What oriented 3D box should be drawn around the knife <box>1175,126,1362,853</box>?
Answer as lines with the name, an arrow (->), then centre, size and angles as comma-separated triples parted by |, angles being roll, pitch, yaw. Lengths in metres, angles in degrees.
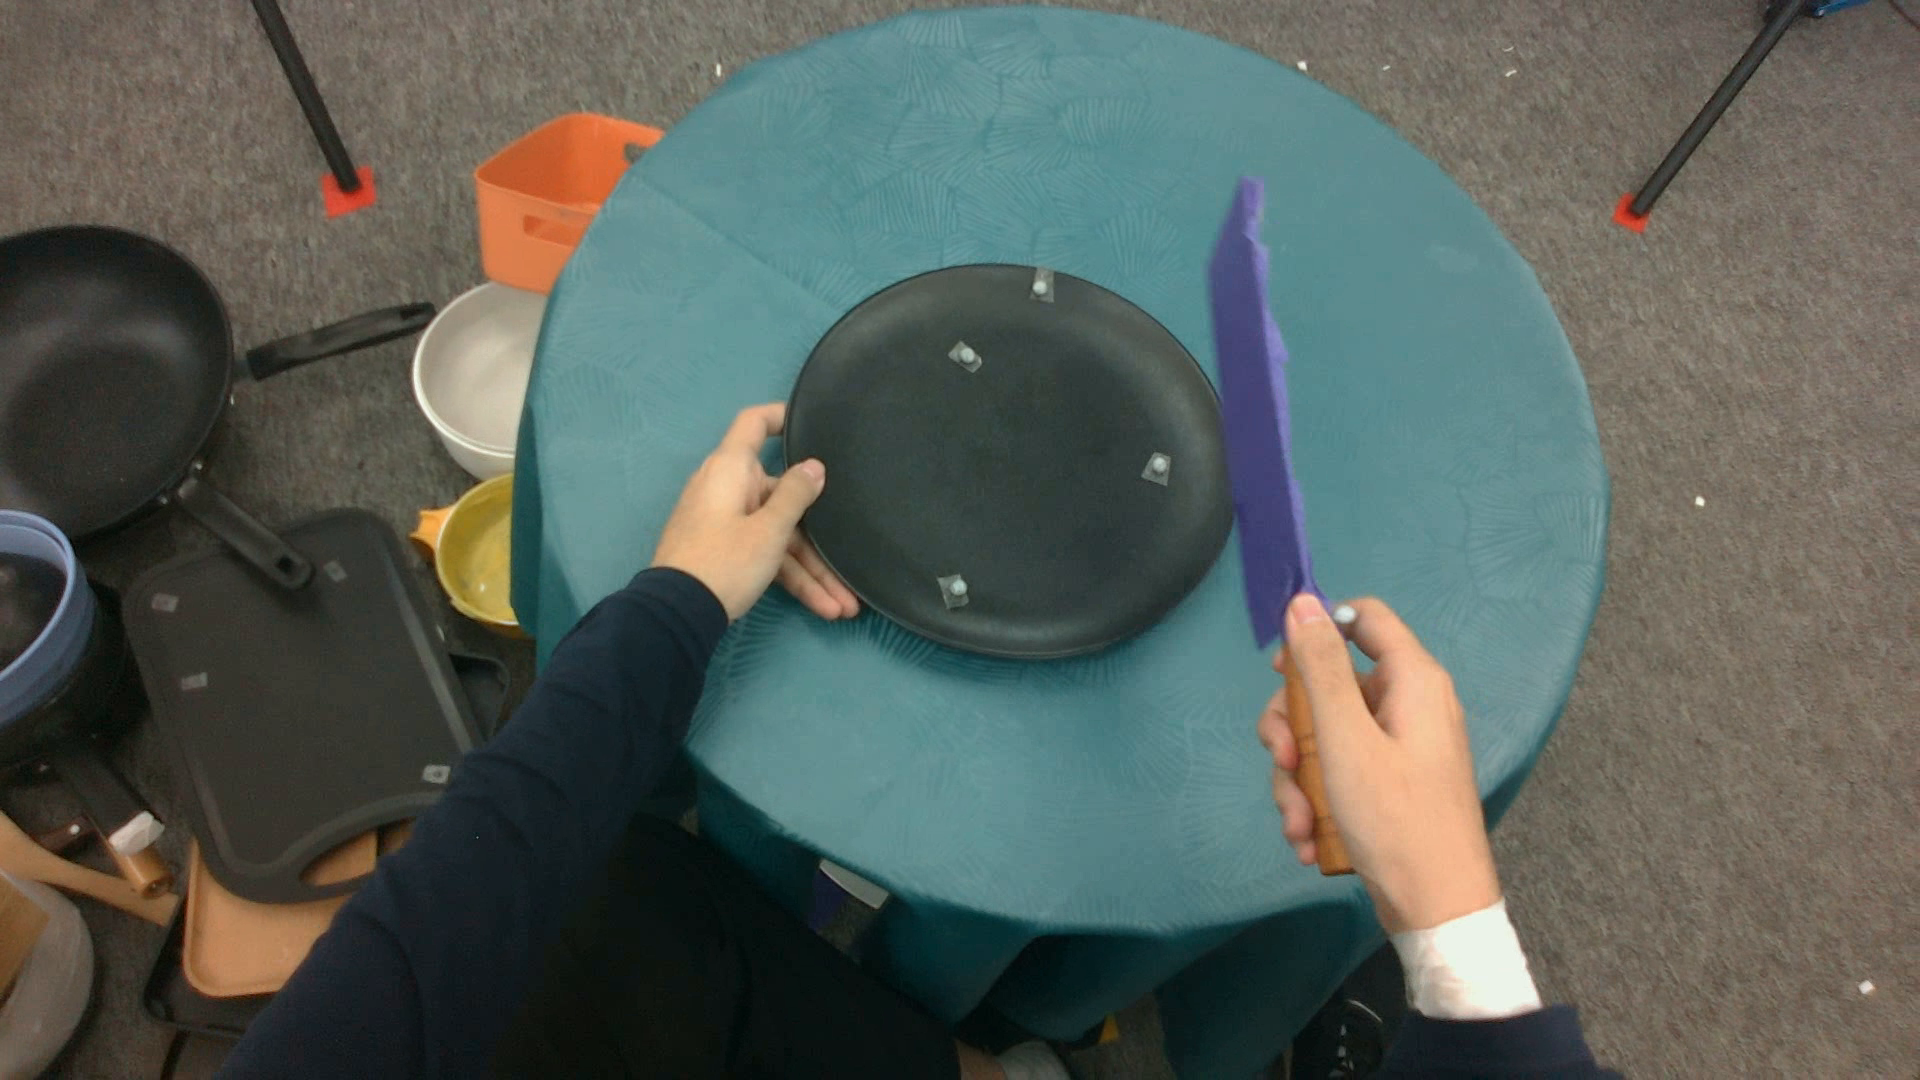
knife -> 0.129, -0.021, 0.607 | 0.032, 0.103, 0.316 | -3, 72, -4

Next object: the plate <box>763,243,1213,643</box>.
plate -> 0.018, -0.055, 0.732 | 0.244, 0.023, 0.245 | 4, 63, -7
